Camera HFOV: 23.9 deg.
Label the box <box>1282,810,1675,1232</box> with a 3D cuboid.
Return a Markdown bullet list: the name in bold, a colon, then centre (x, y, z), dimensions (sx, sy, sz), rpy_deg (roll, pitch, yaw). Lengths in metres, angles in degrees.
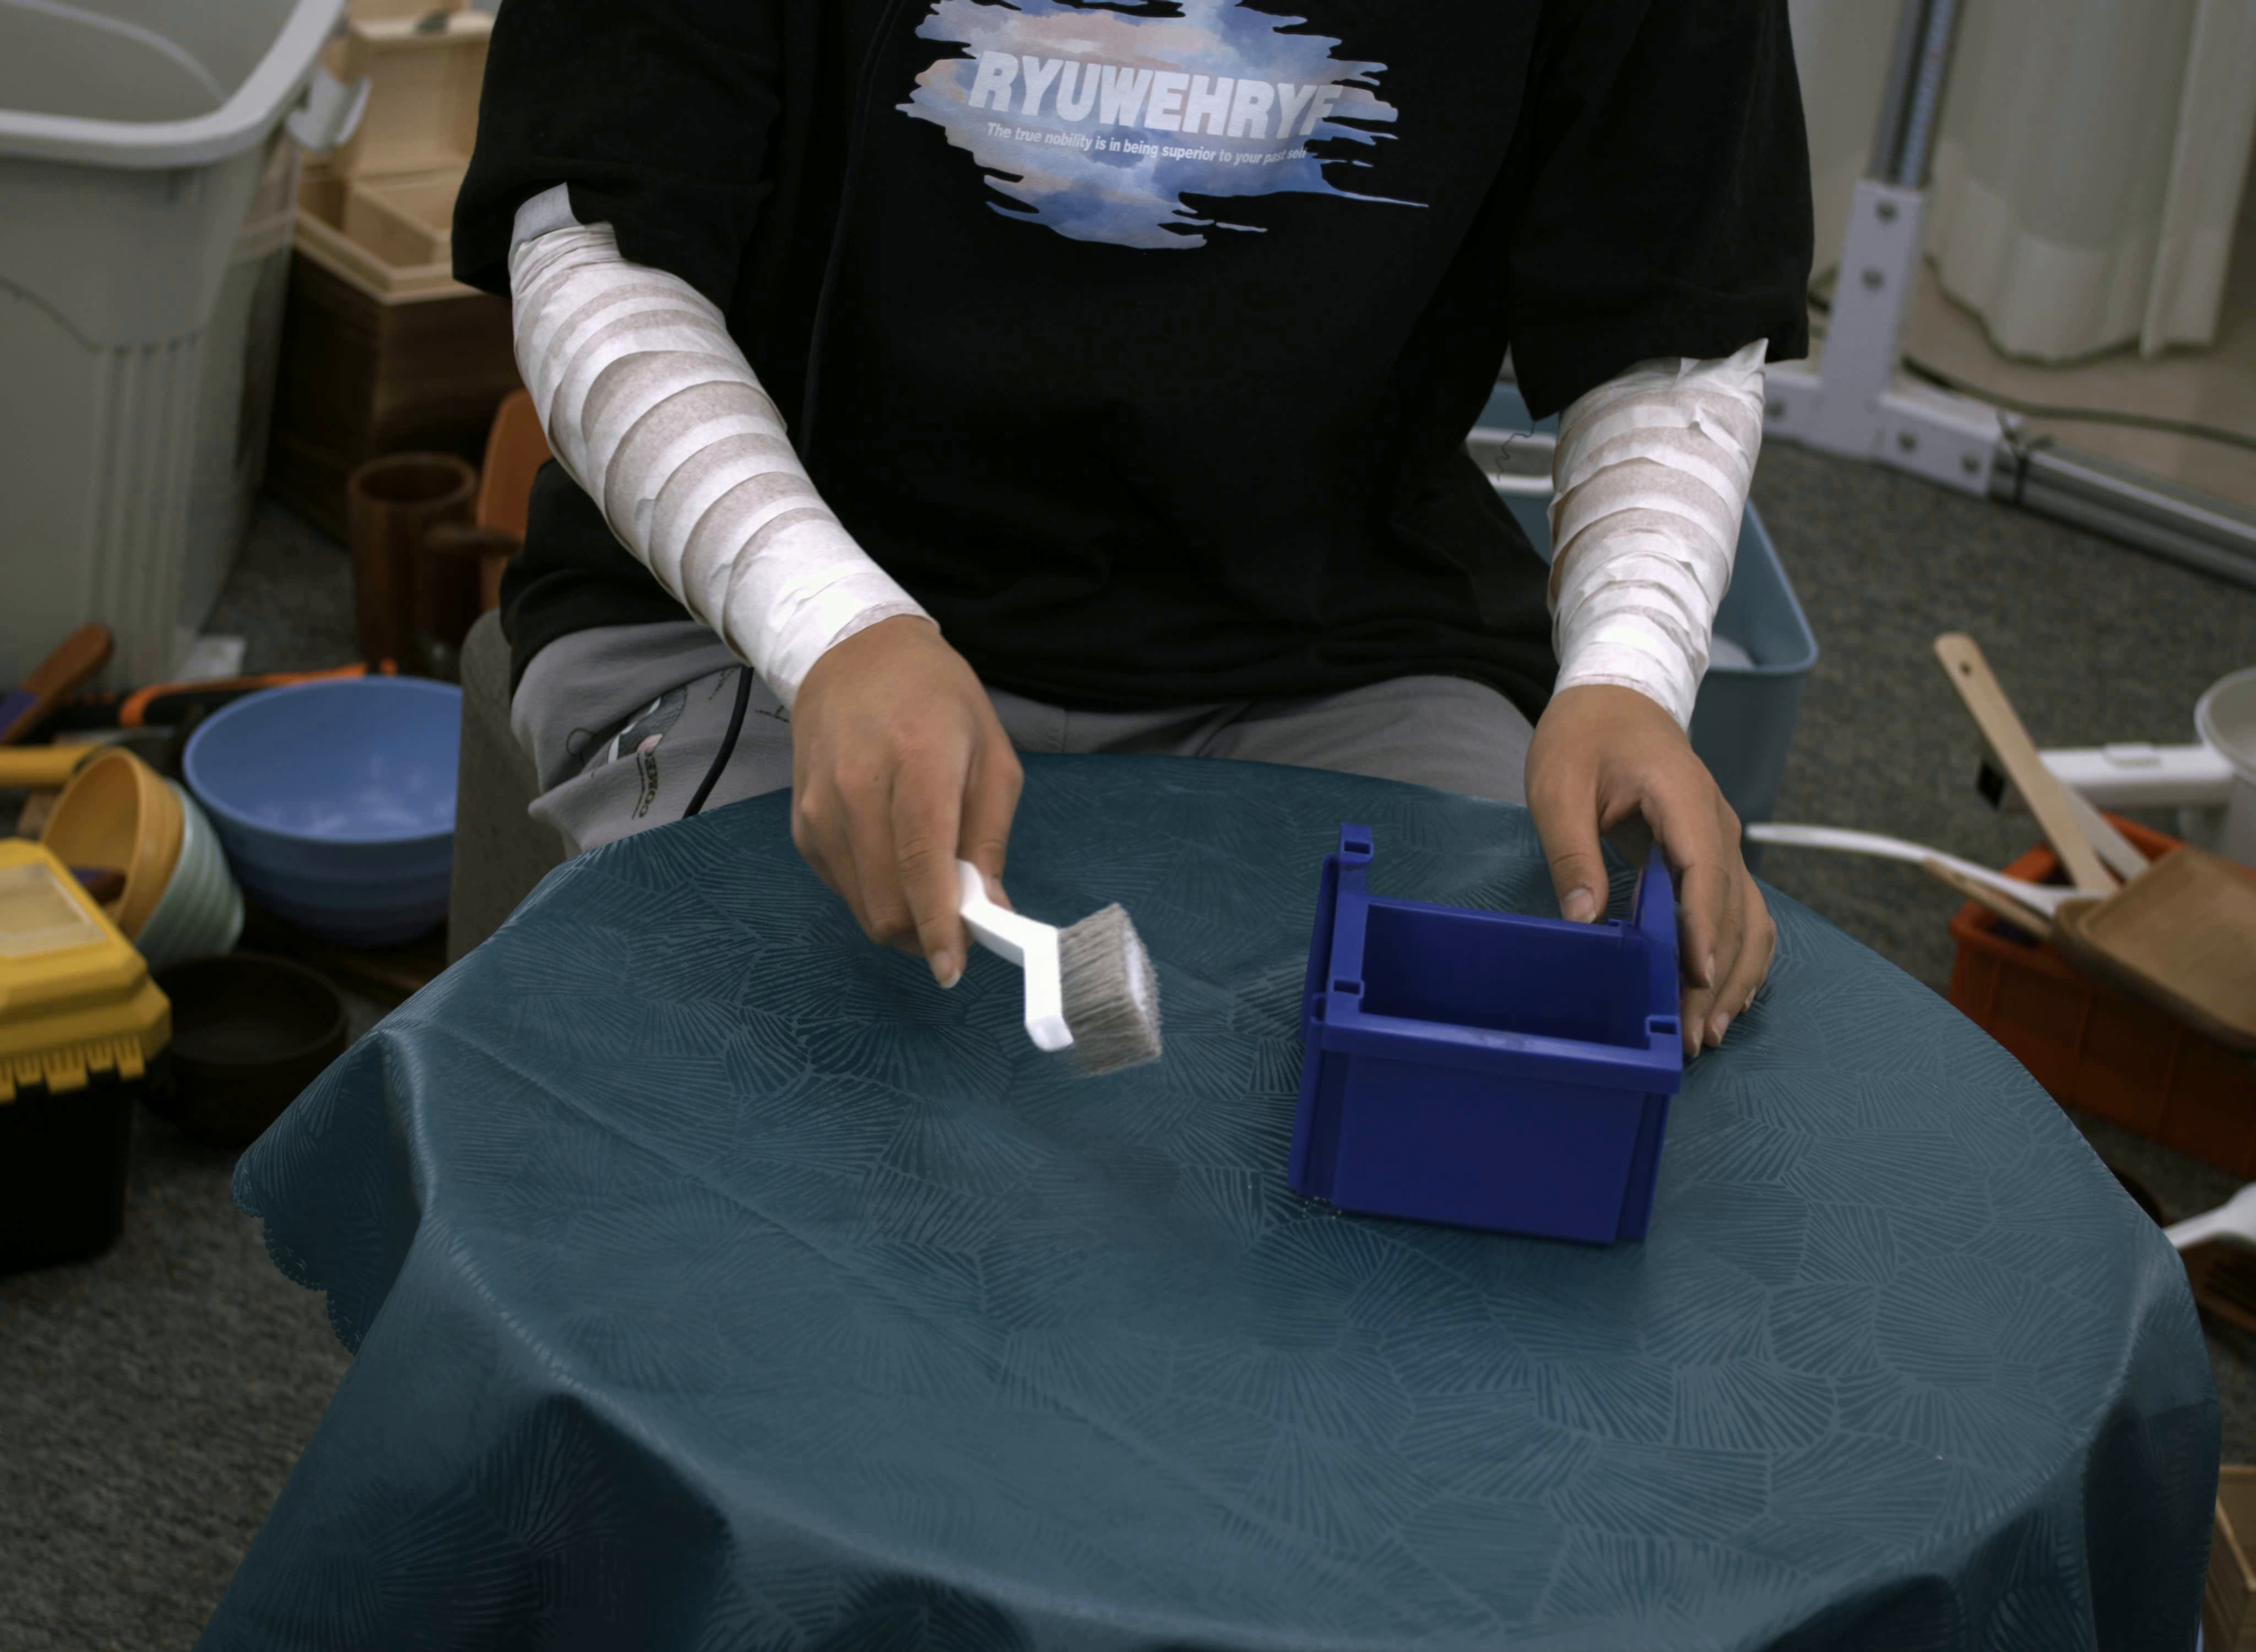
- **box**: centre (0.124, 0.063, 1.862), dimensions (0.124, 0.081, 0.180), rpy_deg (8, 28, 3)

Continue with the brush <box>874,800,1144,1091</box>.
- **brush**: centre (-0.039, 0.028, 1.823), dimensions (0.050, 0.034, 0.245), rpy_deg (-31, 24, -4)
